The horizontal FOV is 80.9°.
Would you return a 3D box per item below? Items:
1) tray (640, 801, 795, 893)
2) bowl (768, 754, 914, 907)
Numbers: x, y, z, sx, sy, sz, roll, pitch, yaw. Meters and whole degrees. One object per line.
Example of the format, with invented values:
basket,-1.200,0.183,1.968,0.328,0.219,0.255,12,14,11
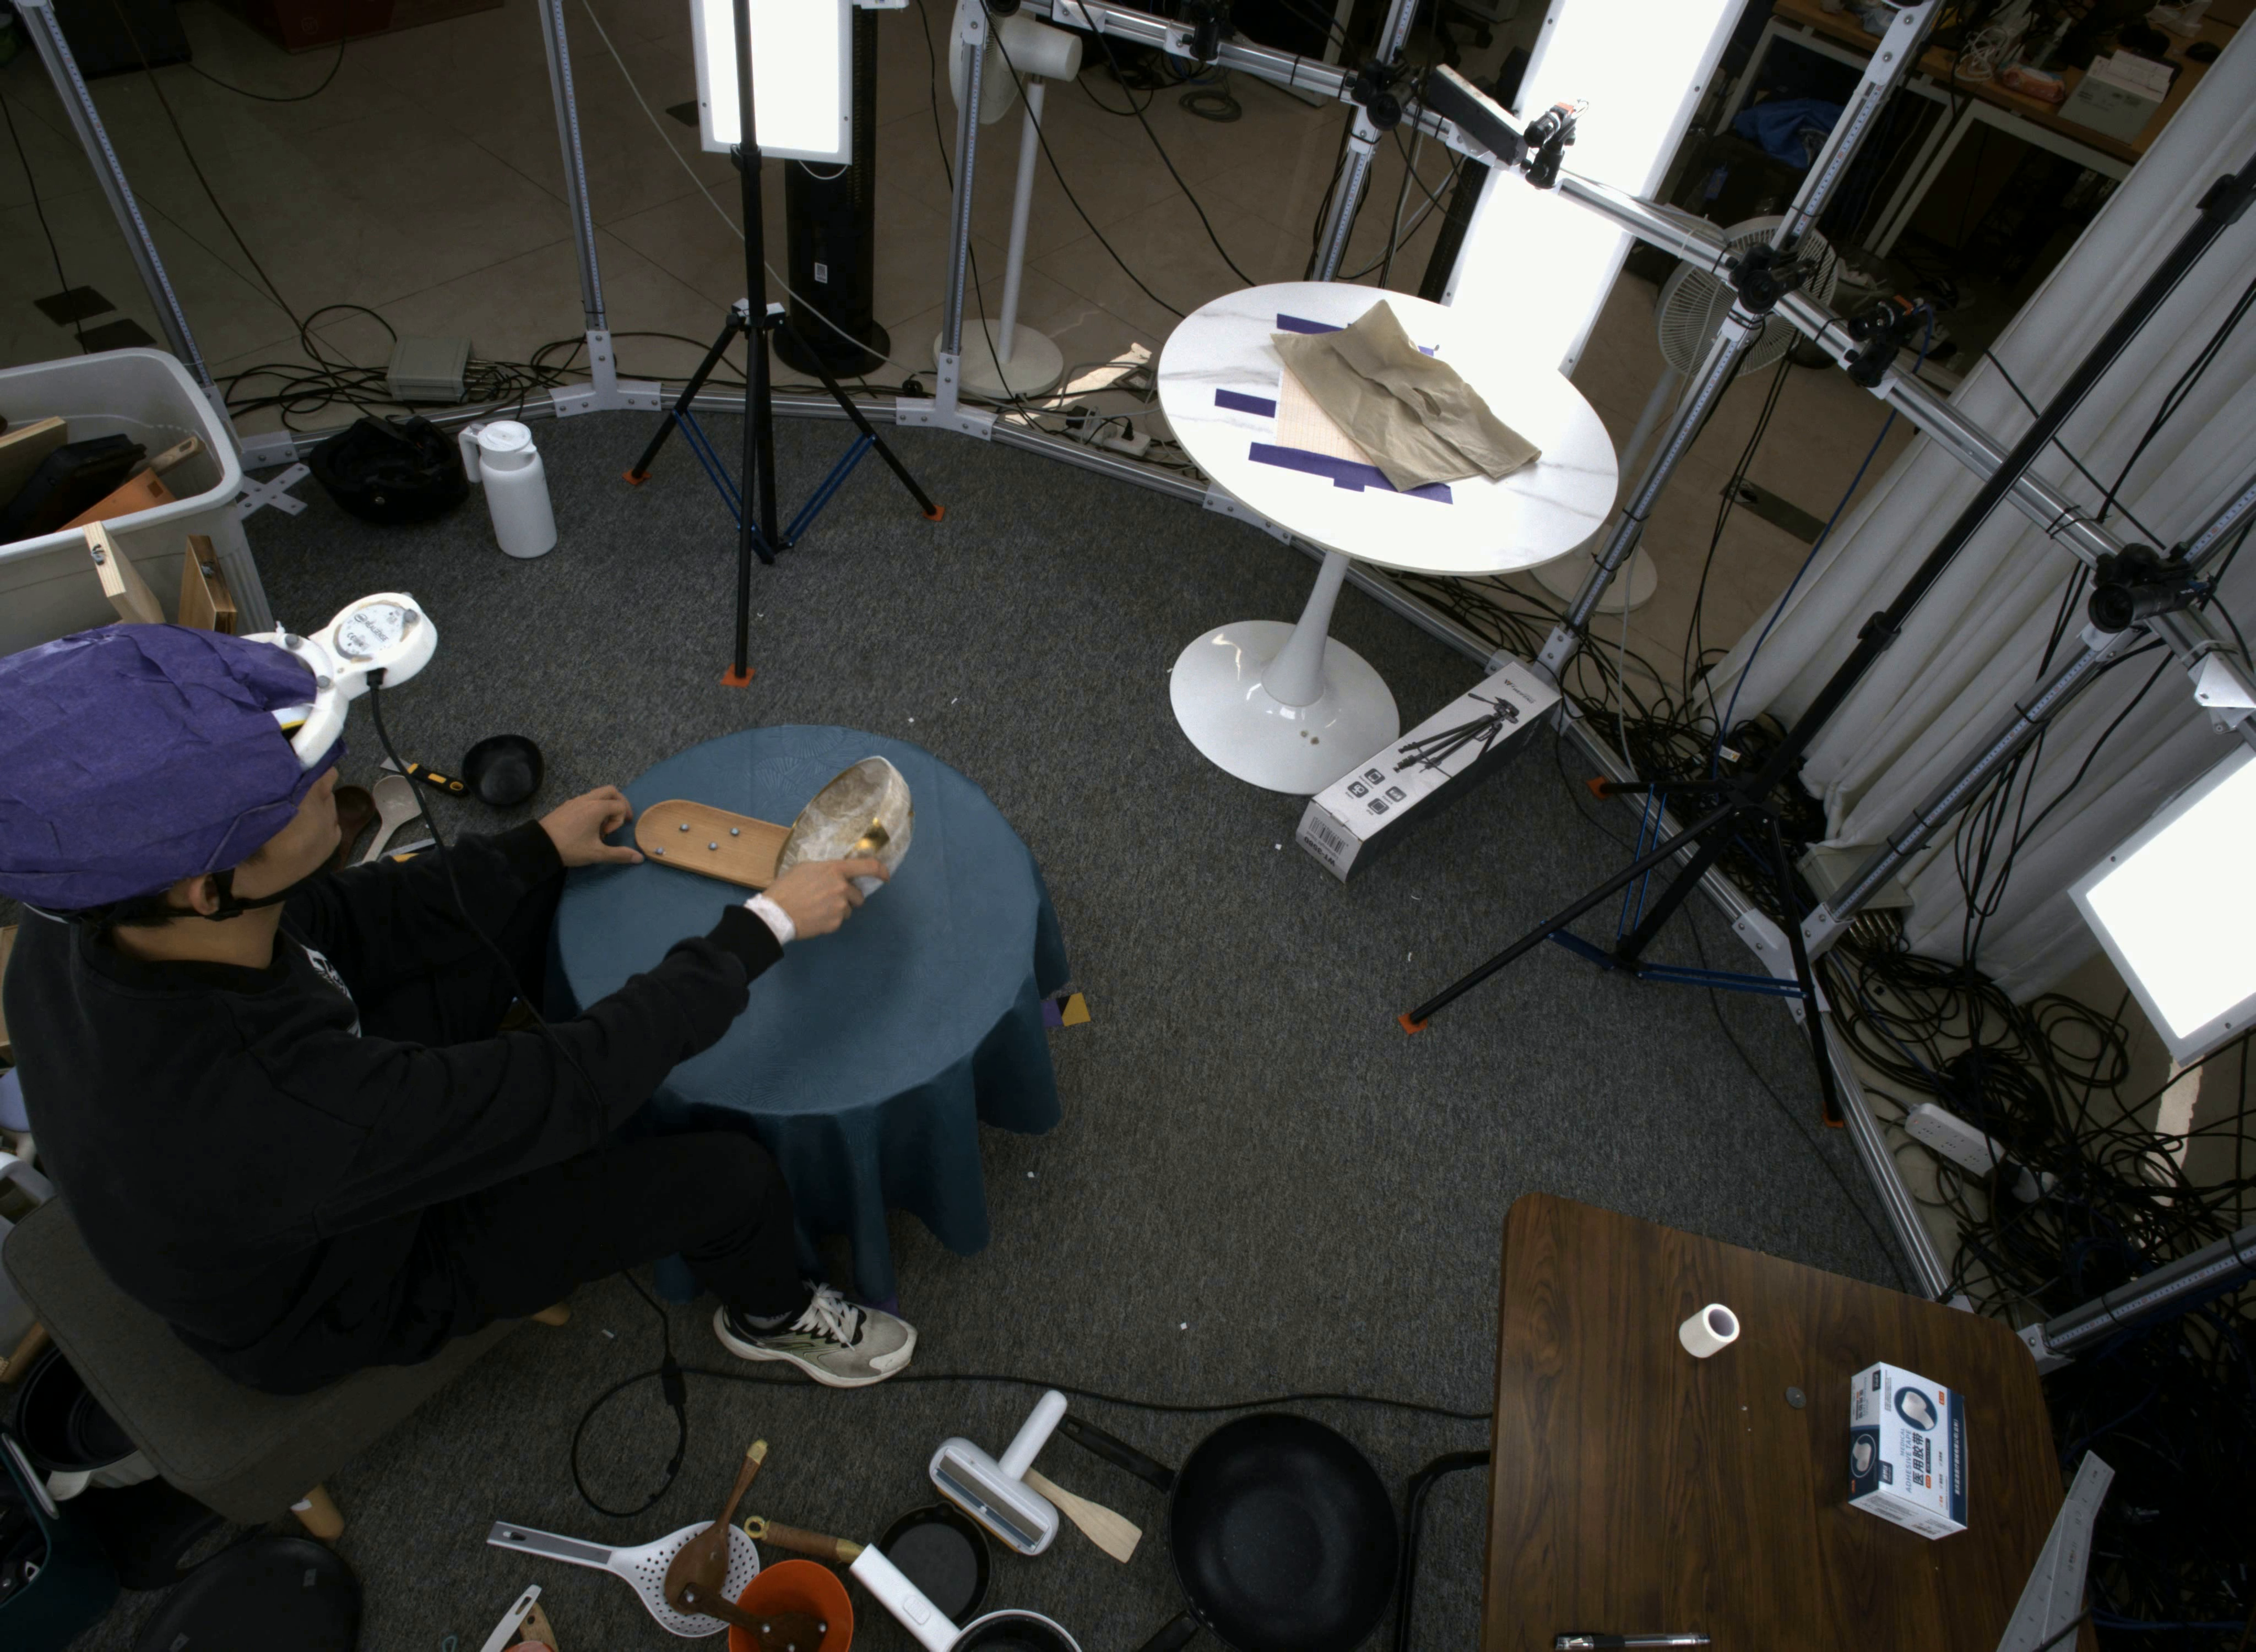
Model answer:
tray,-0.519,0.025,1.675,0.230,0.020,0.100,15,54,-5
bowl,-0.335,0.021,1.592,0.098,0.210,0.211,43,40,-34
